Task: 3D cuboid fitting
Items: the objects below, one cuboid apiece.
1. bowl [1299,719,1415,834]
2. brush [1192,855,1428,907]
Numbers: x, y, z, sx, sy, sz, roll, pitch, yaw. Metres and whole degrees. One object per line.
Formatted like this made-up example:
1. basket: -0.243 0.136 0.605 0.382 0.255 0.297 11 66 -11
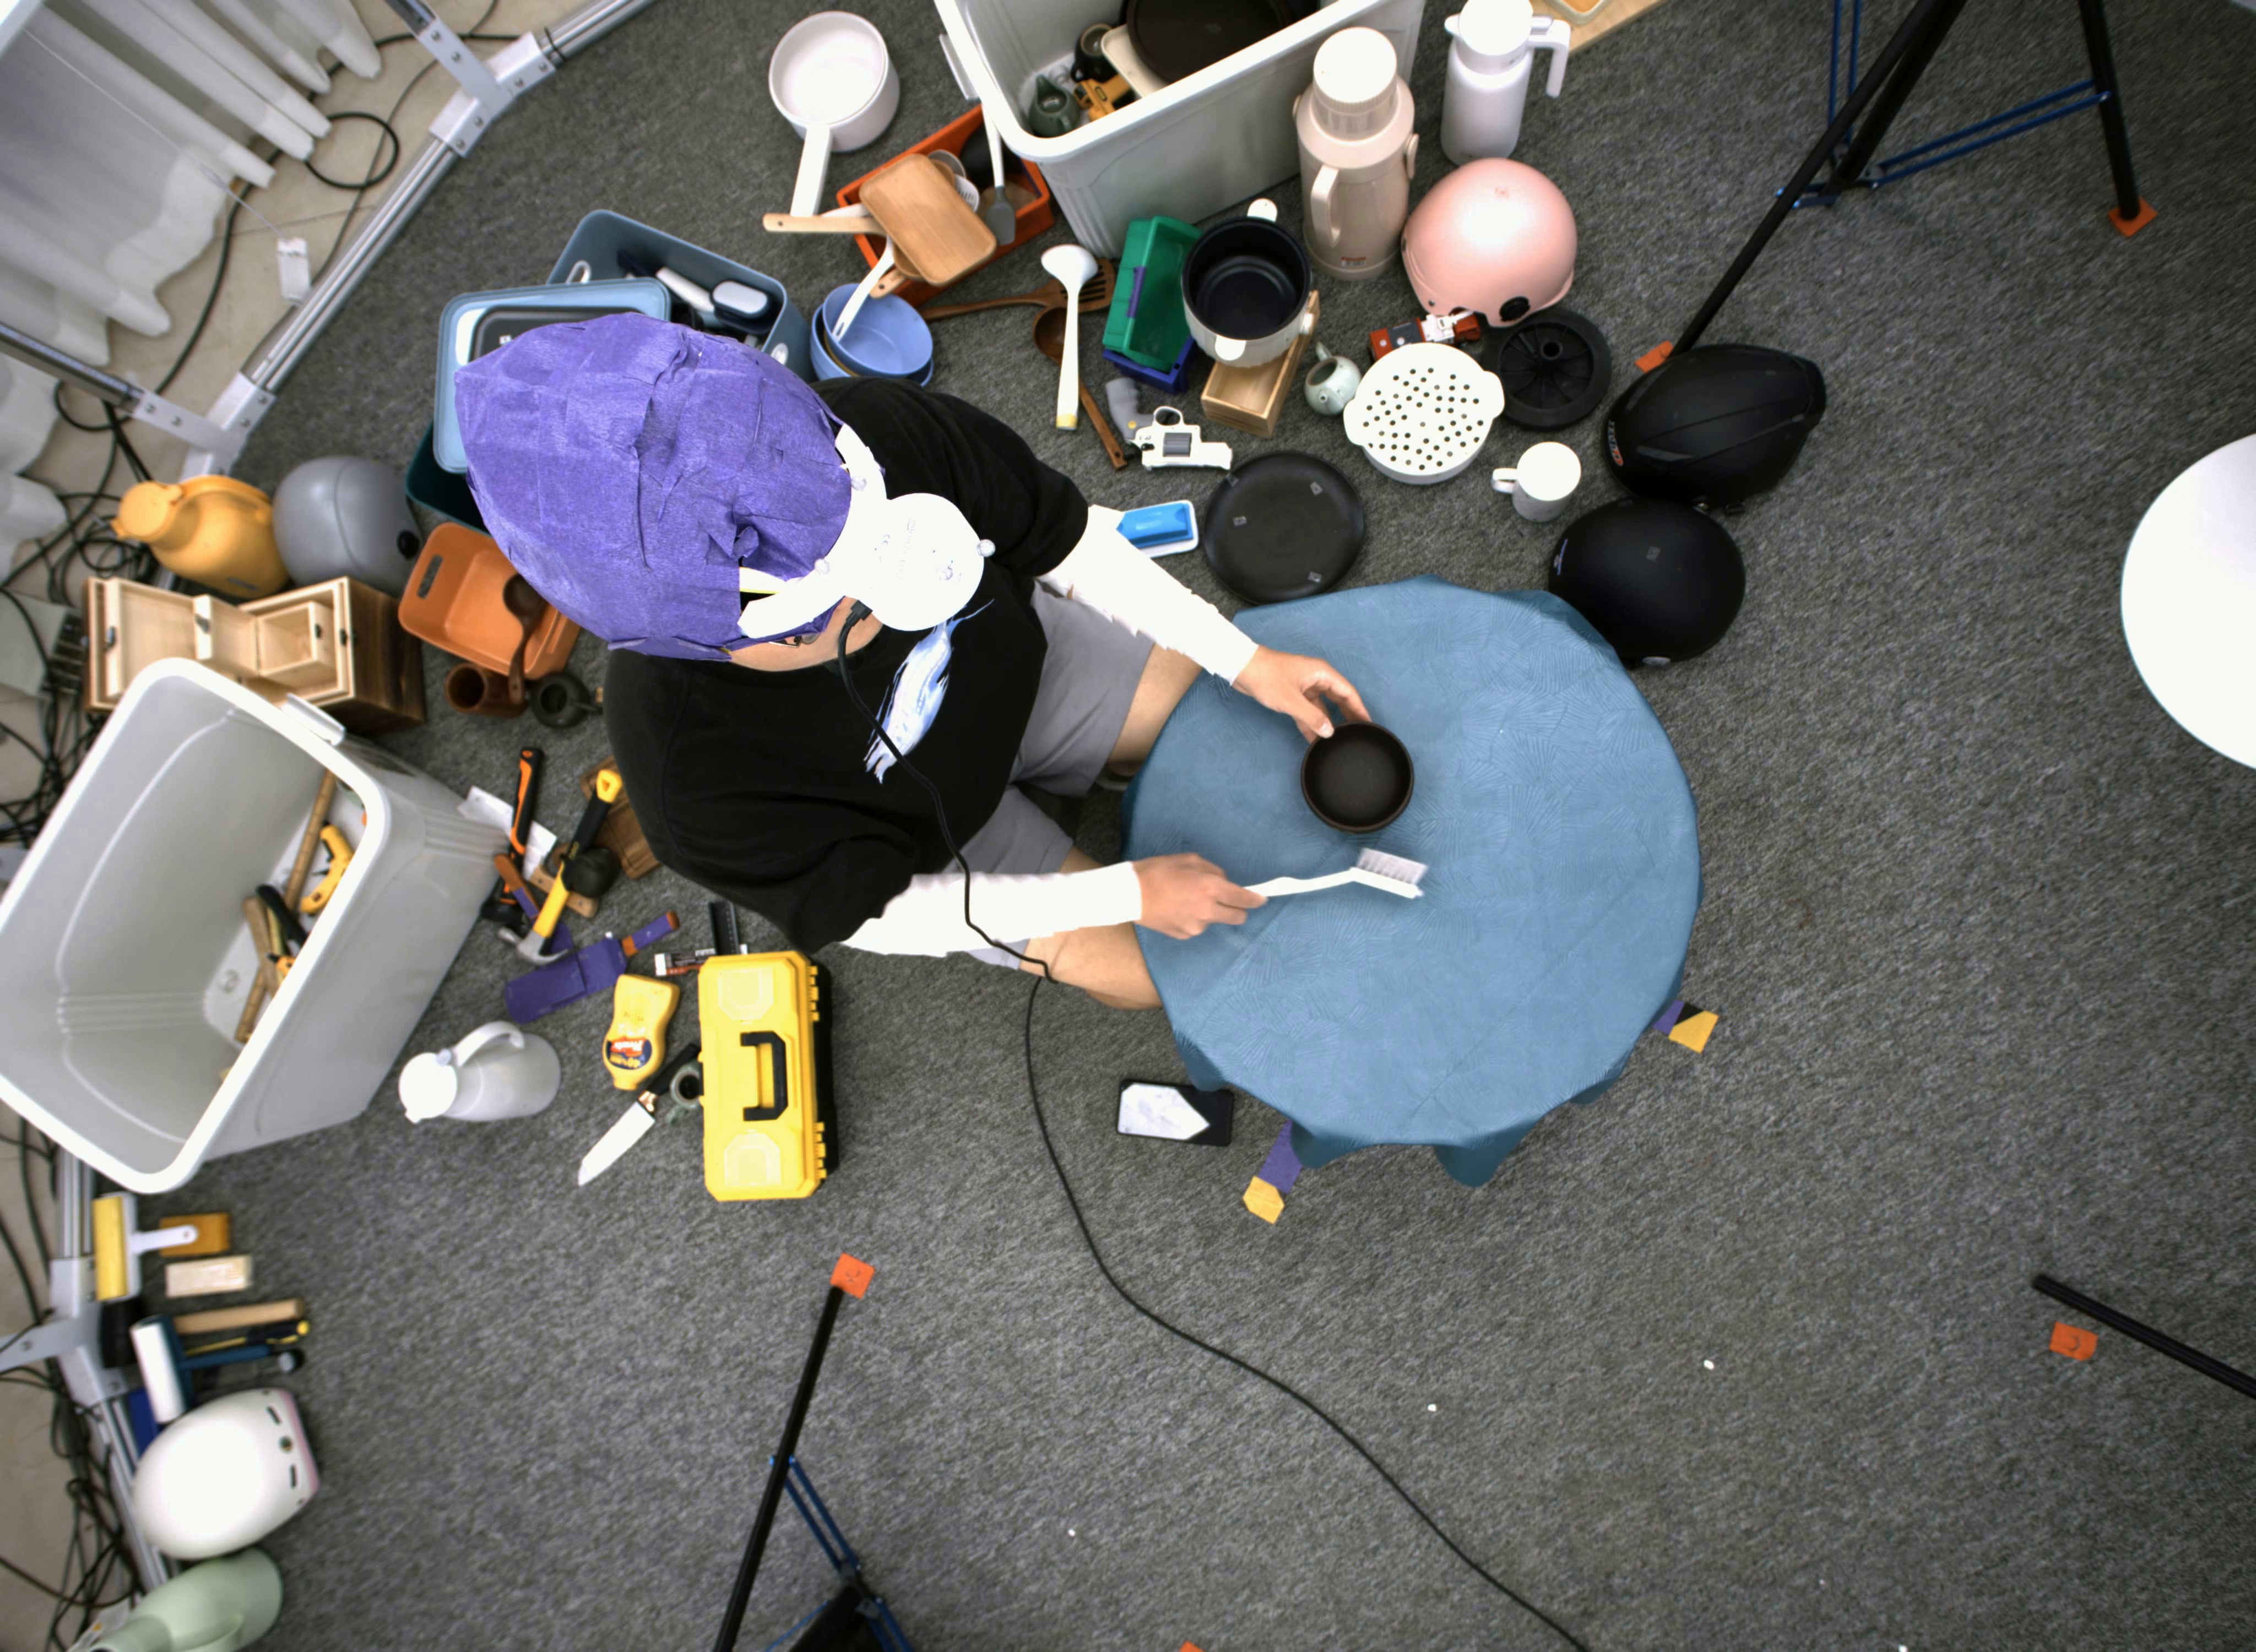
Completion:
1. bowl: 0.239 -0.050 1.434 0.118 0.070 0.117 -1 87 13
2. brush: 0.189 0.051 1.440 0.244 0.034 0.050 3 94 11
